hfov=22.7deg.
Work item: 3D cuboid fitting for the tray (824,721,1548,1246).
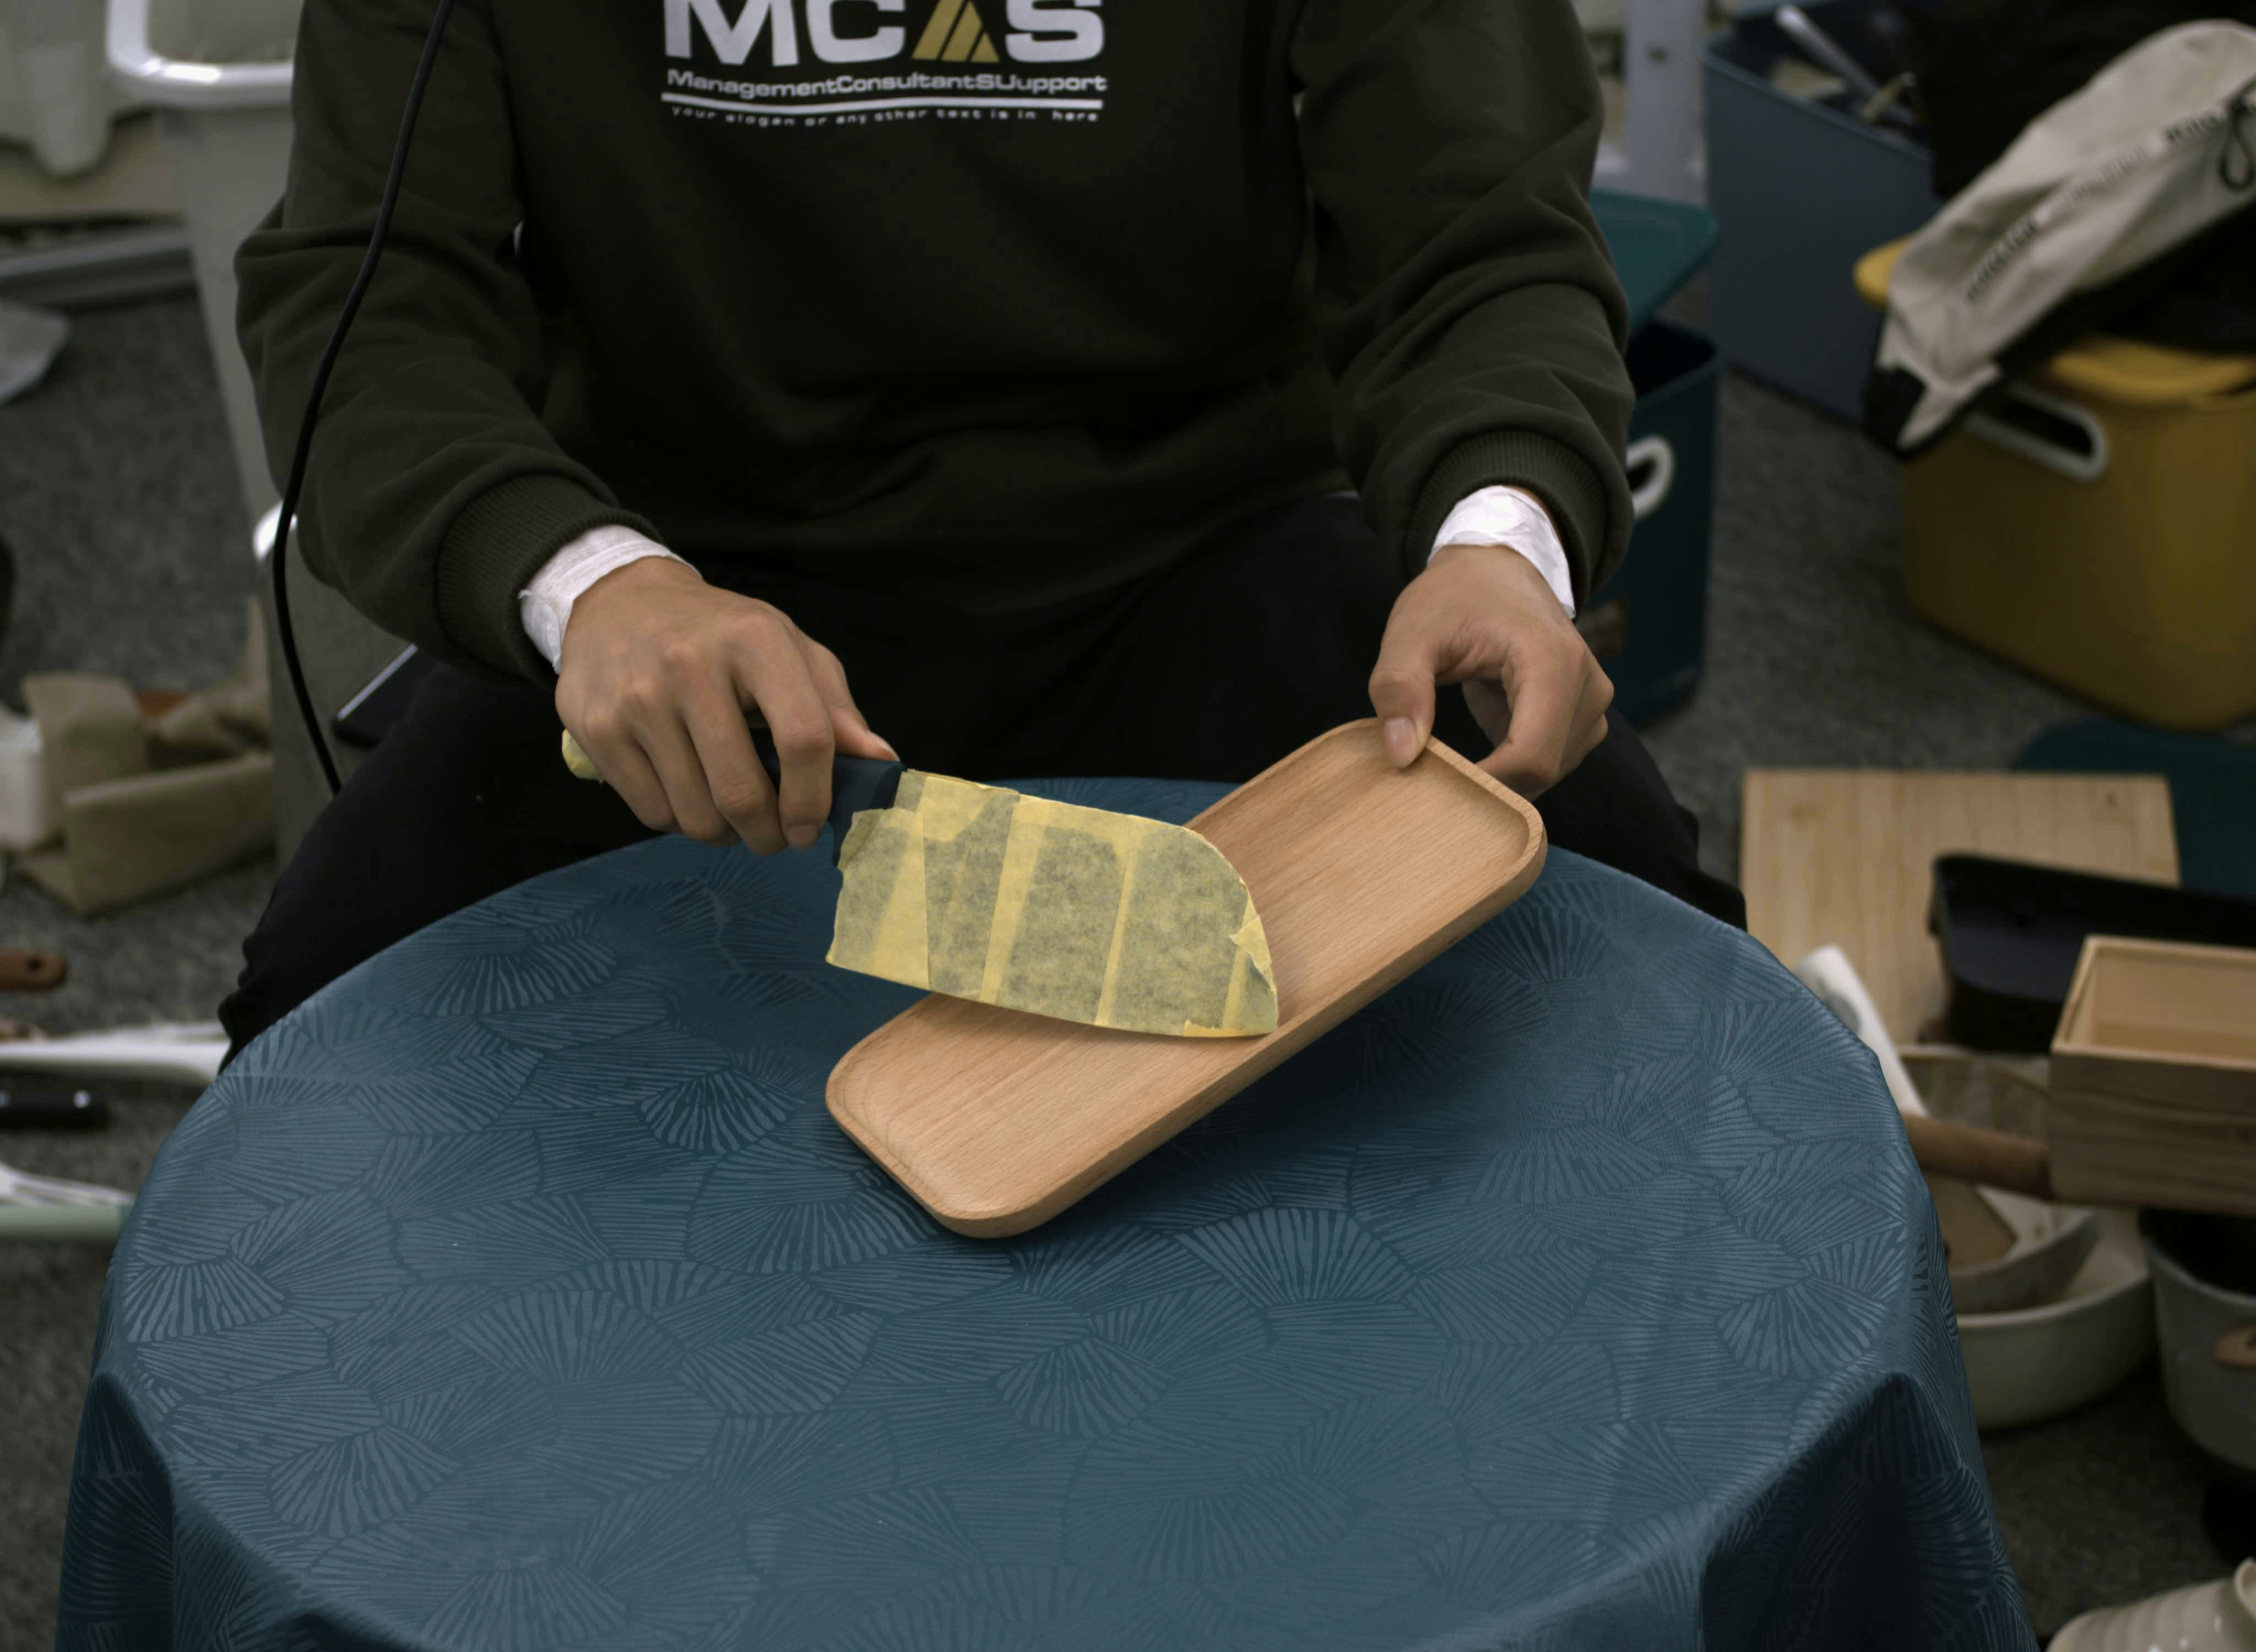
[{"bbox_3d":[0.020,0.052,1.900,0.252,0.022,0.131,-34,33,-16],"label":"tray"}]

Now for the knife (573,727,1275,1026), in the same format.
[{"bbox_3d":[-0.073,0.015,1.925,0.288,0.081,0.027,15,-4,28],"label":"knife"}]
